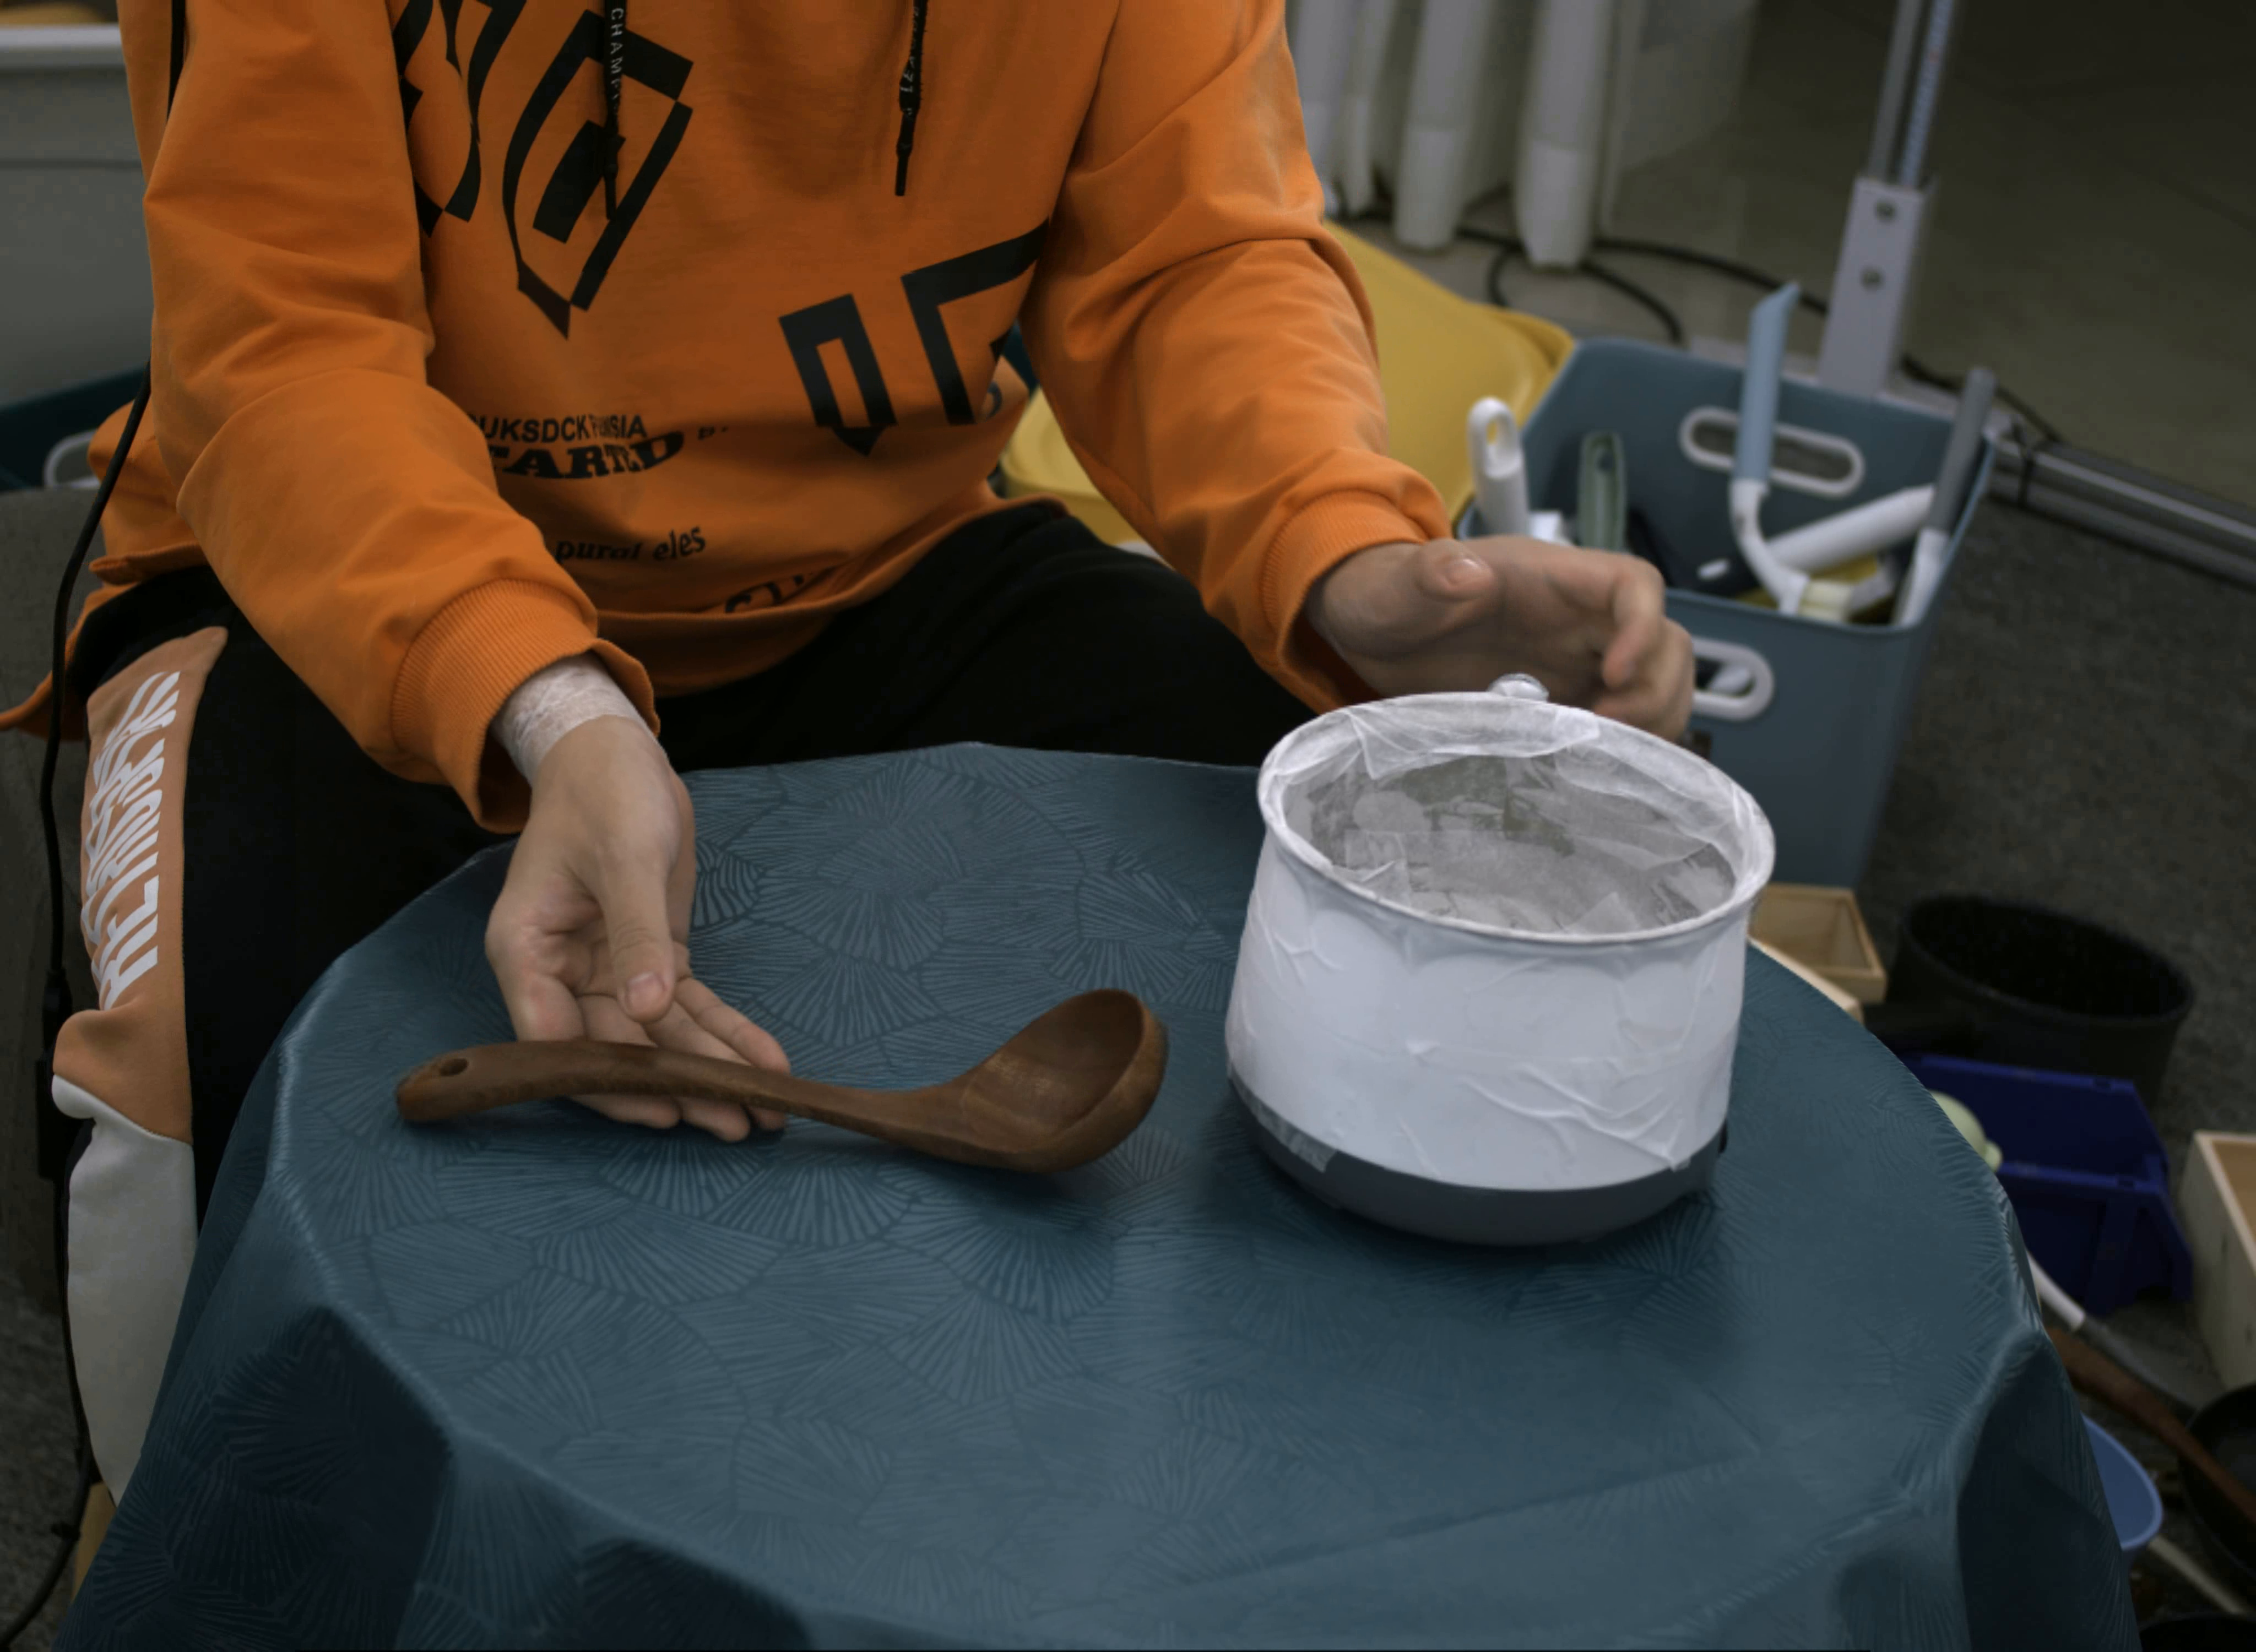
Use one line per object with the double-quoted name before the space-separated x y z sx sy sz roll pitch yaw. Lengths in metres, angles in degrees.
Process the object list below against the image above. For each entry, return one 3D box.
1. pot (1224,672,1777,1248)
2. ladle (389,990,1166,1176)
"pot" 0.126 0.039 1.847 0.178 0.136 0.235 7 27 0
"ladle" -0.117 0.080 1.791 0.259 0.065 0.077 5 26 -4
